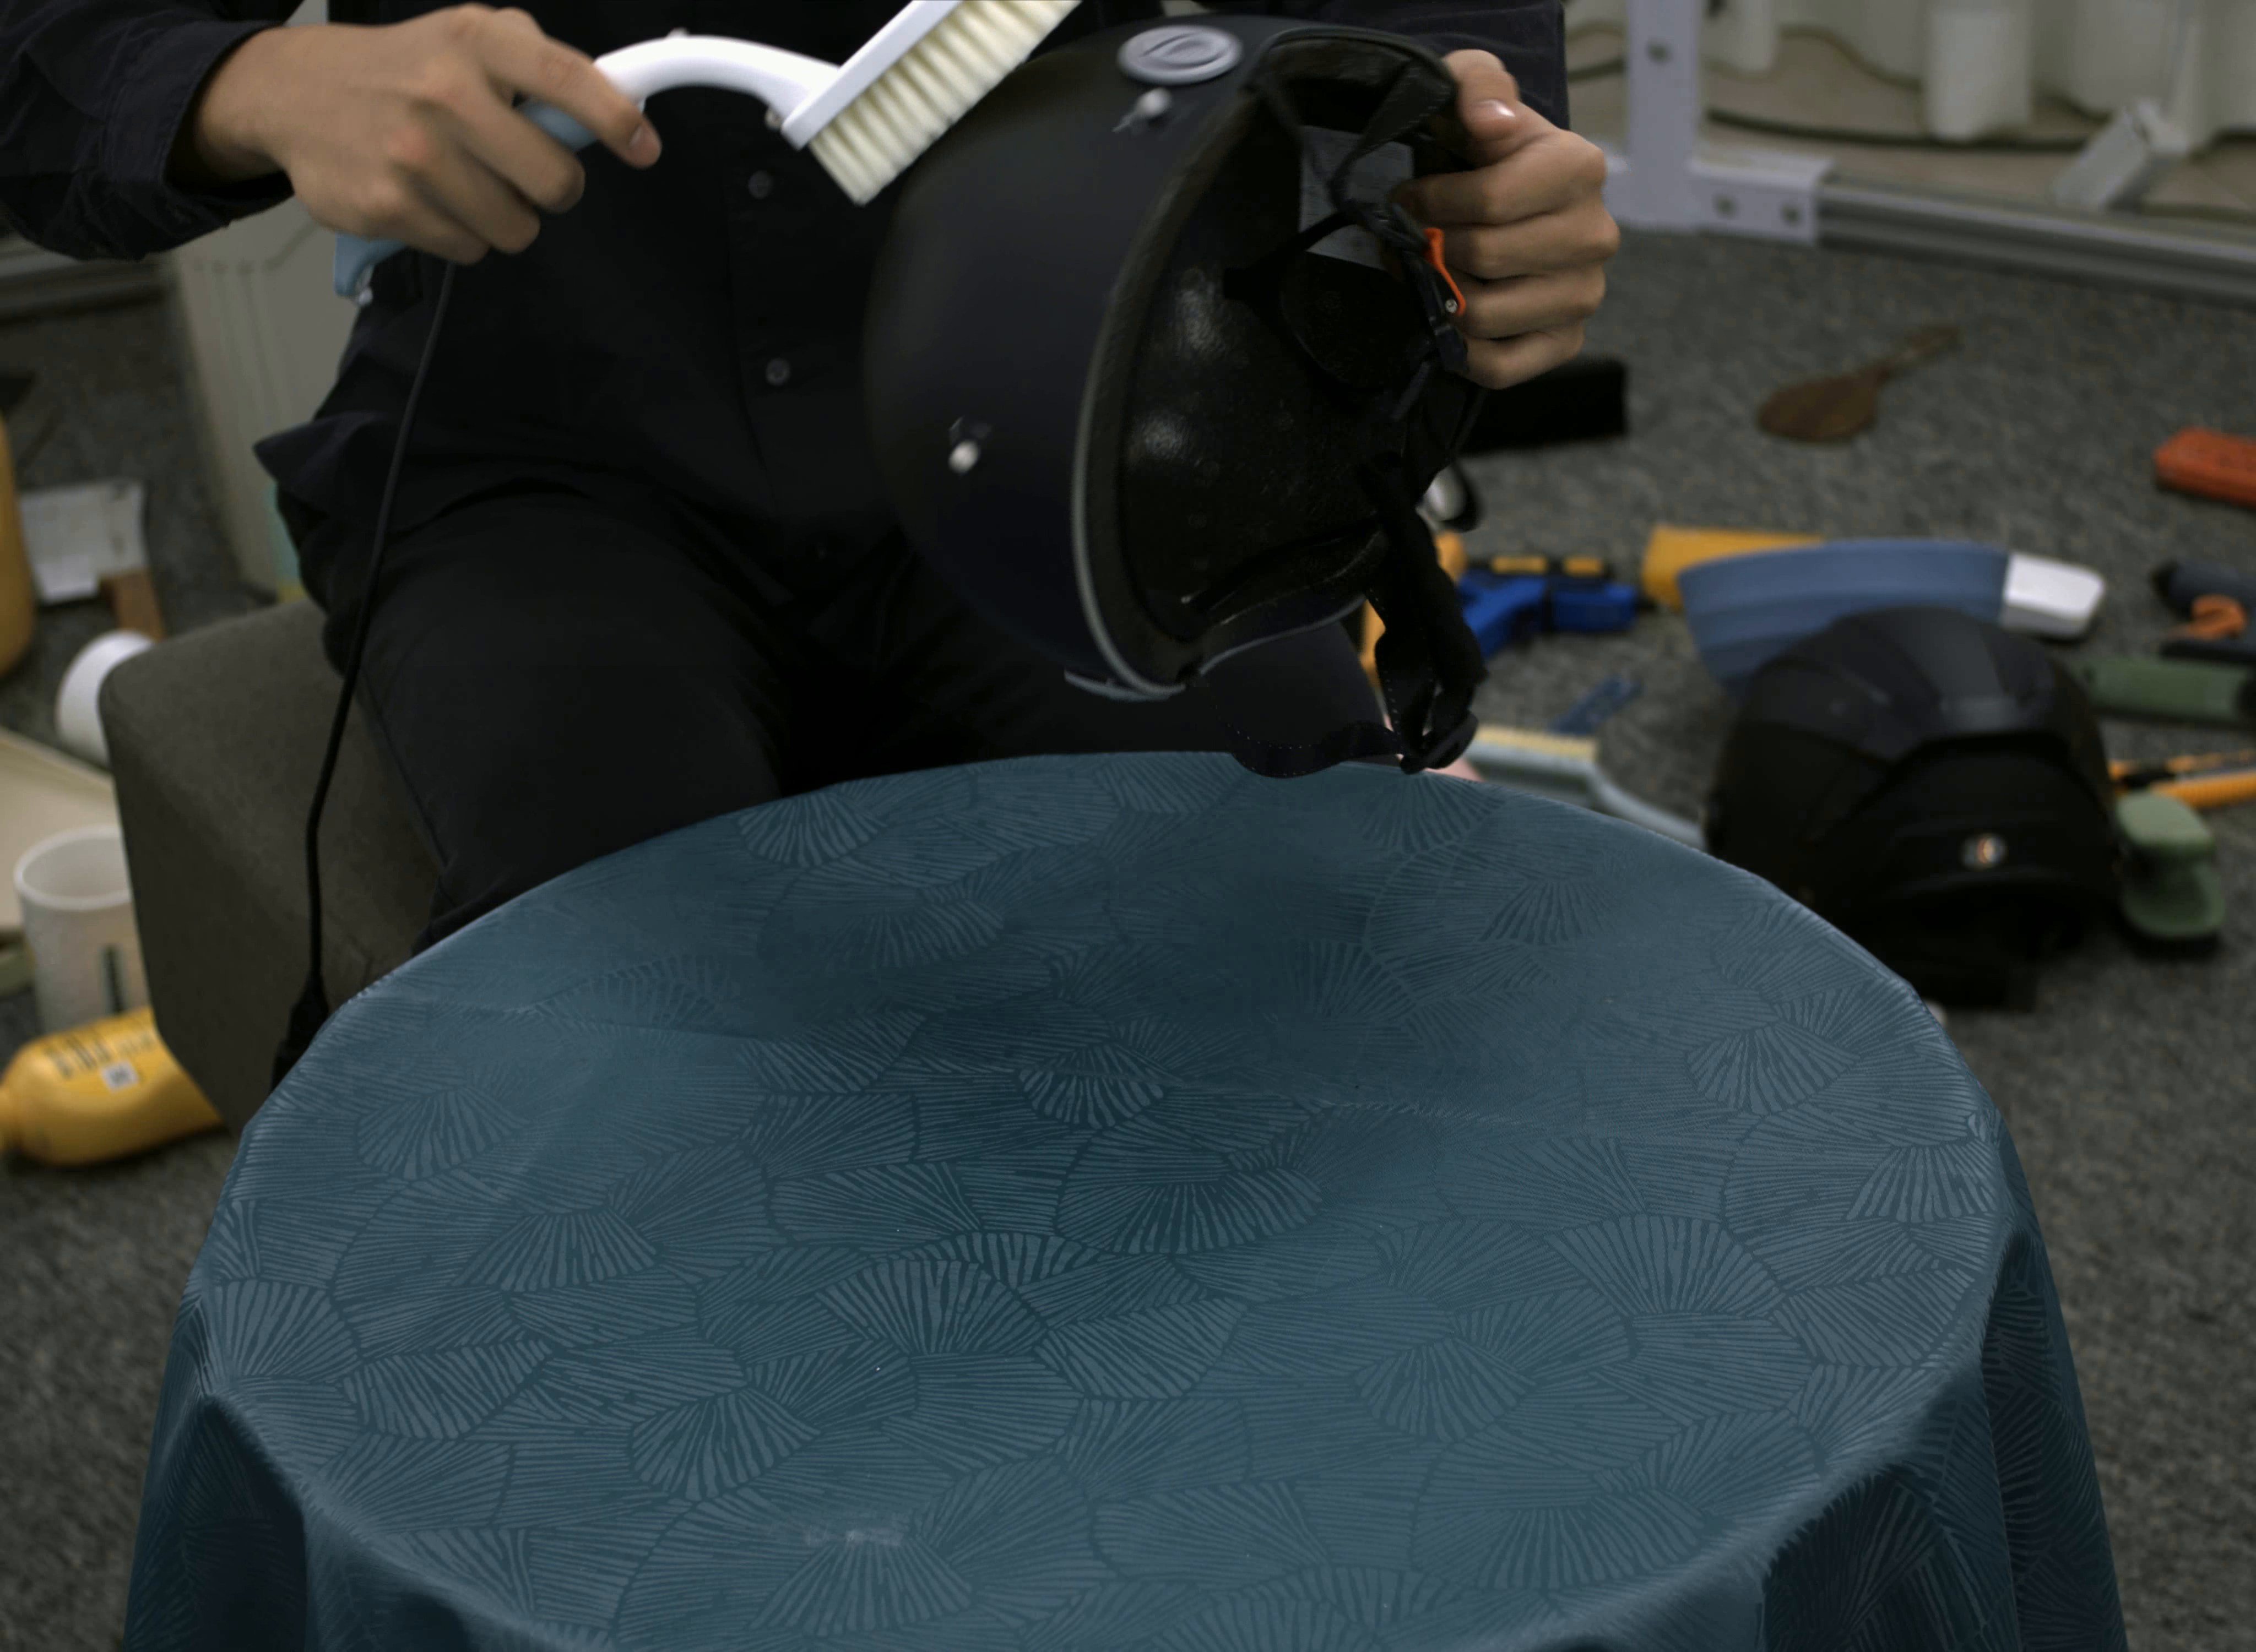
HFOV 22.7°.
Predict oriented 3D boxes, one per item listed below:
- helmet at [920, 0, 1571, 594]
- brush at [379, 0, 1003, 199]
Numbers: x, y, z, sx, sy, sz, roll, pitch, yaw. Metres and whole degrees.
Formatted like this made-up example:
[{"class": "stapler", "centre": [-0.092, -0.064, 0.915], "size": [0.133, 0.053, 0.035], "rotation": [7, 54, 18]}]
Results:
[{"class": "helmet", "centre": [0.020, -0.207, 1.934], "size": [0.166, 0.228, 0.276], "rotation": [17, 24, 30]}, {"class": "brush", "centre": [-0.120, -0.264, 1.938], "size": [0.321, 0.086, 0.083], "rotation": [-25, -24, 28]}]
